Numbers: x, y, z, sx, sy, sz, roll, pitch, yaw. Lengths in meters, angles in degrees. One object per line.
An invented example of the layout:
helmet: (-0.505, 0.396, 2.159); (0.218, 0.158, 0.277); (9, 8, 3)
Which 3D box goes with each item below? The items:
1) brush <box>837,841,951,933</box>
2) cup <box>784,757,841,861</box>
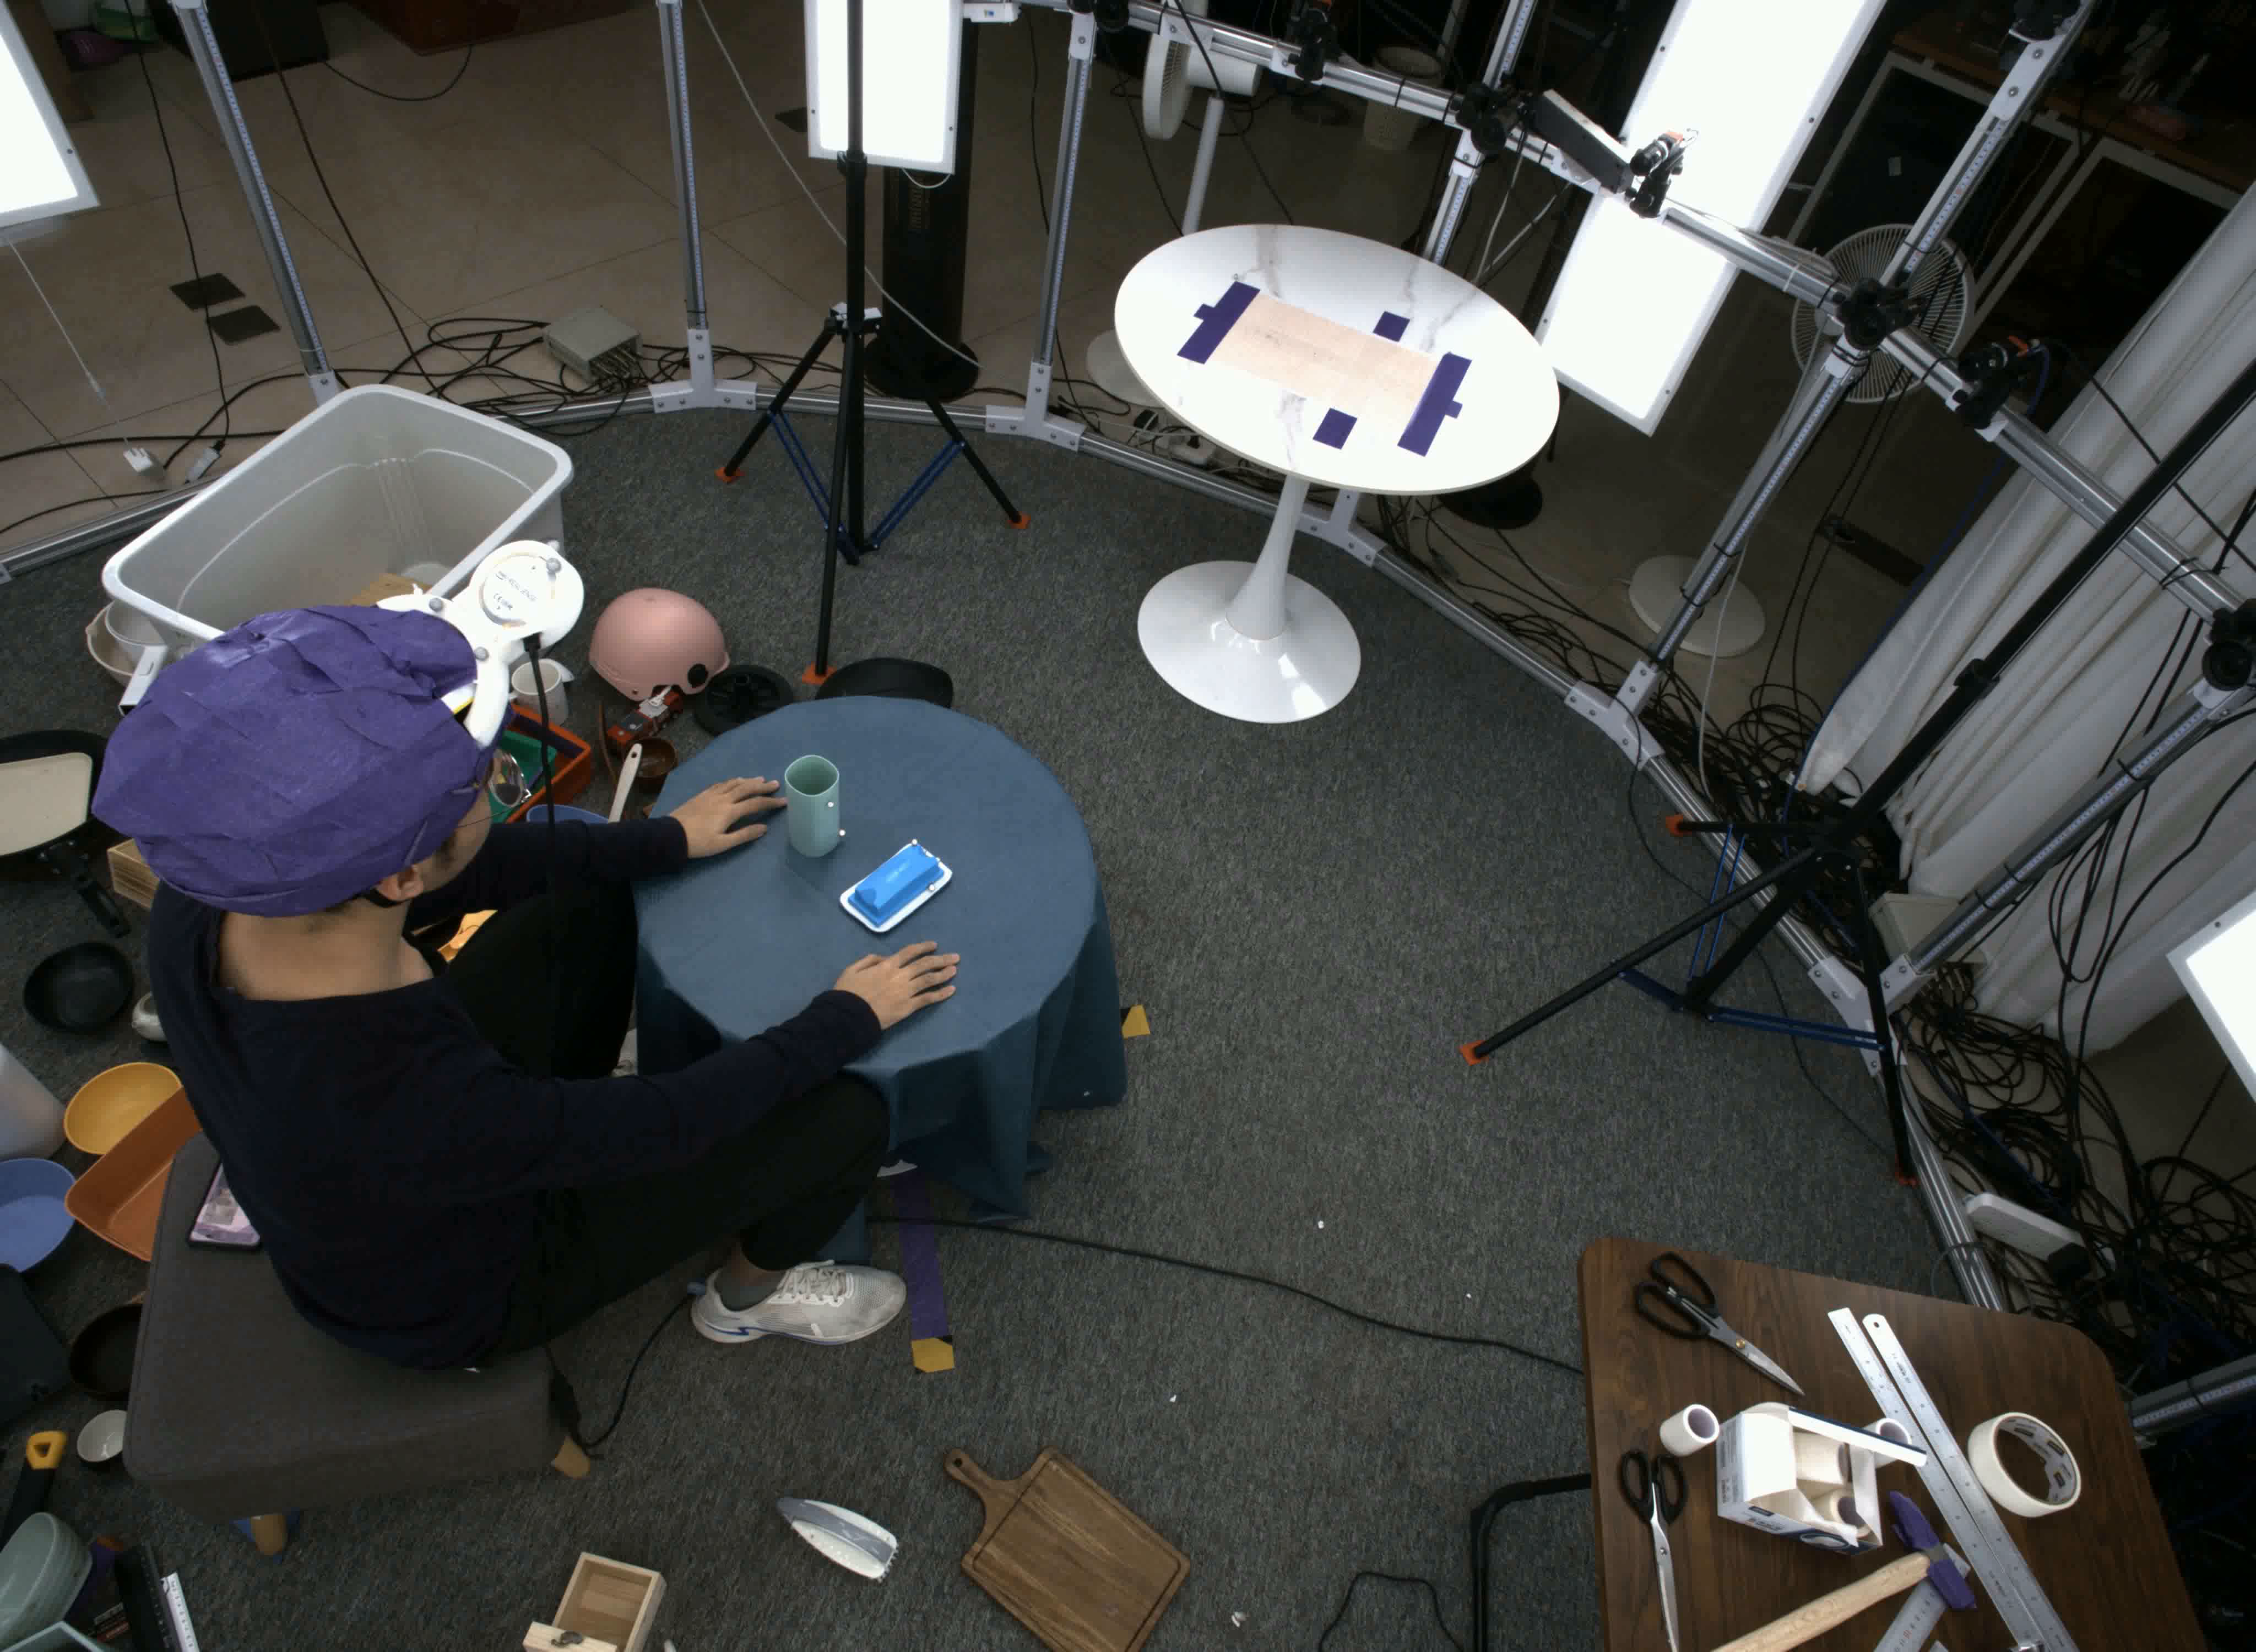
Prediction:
brush: (-0.299, 0.070, 1.665); (0.082, 0.057, 0.144); (38, 52, 20)
cup: (-0.406, -0.021, 1.668); (0.066, 0.135, 0.065); (6, 52, -6)
